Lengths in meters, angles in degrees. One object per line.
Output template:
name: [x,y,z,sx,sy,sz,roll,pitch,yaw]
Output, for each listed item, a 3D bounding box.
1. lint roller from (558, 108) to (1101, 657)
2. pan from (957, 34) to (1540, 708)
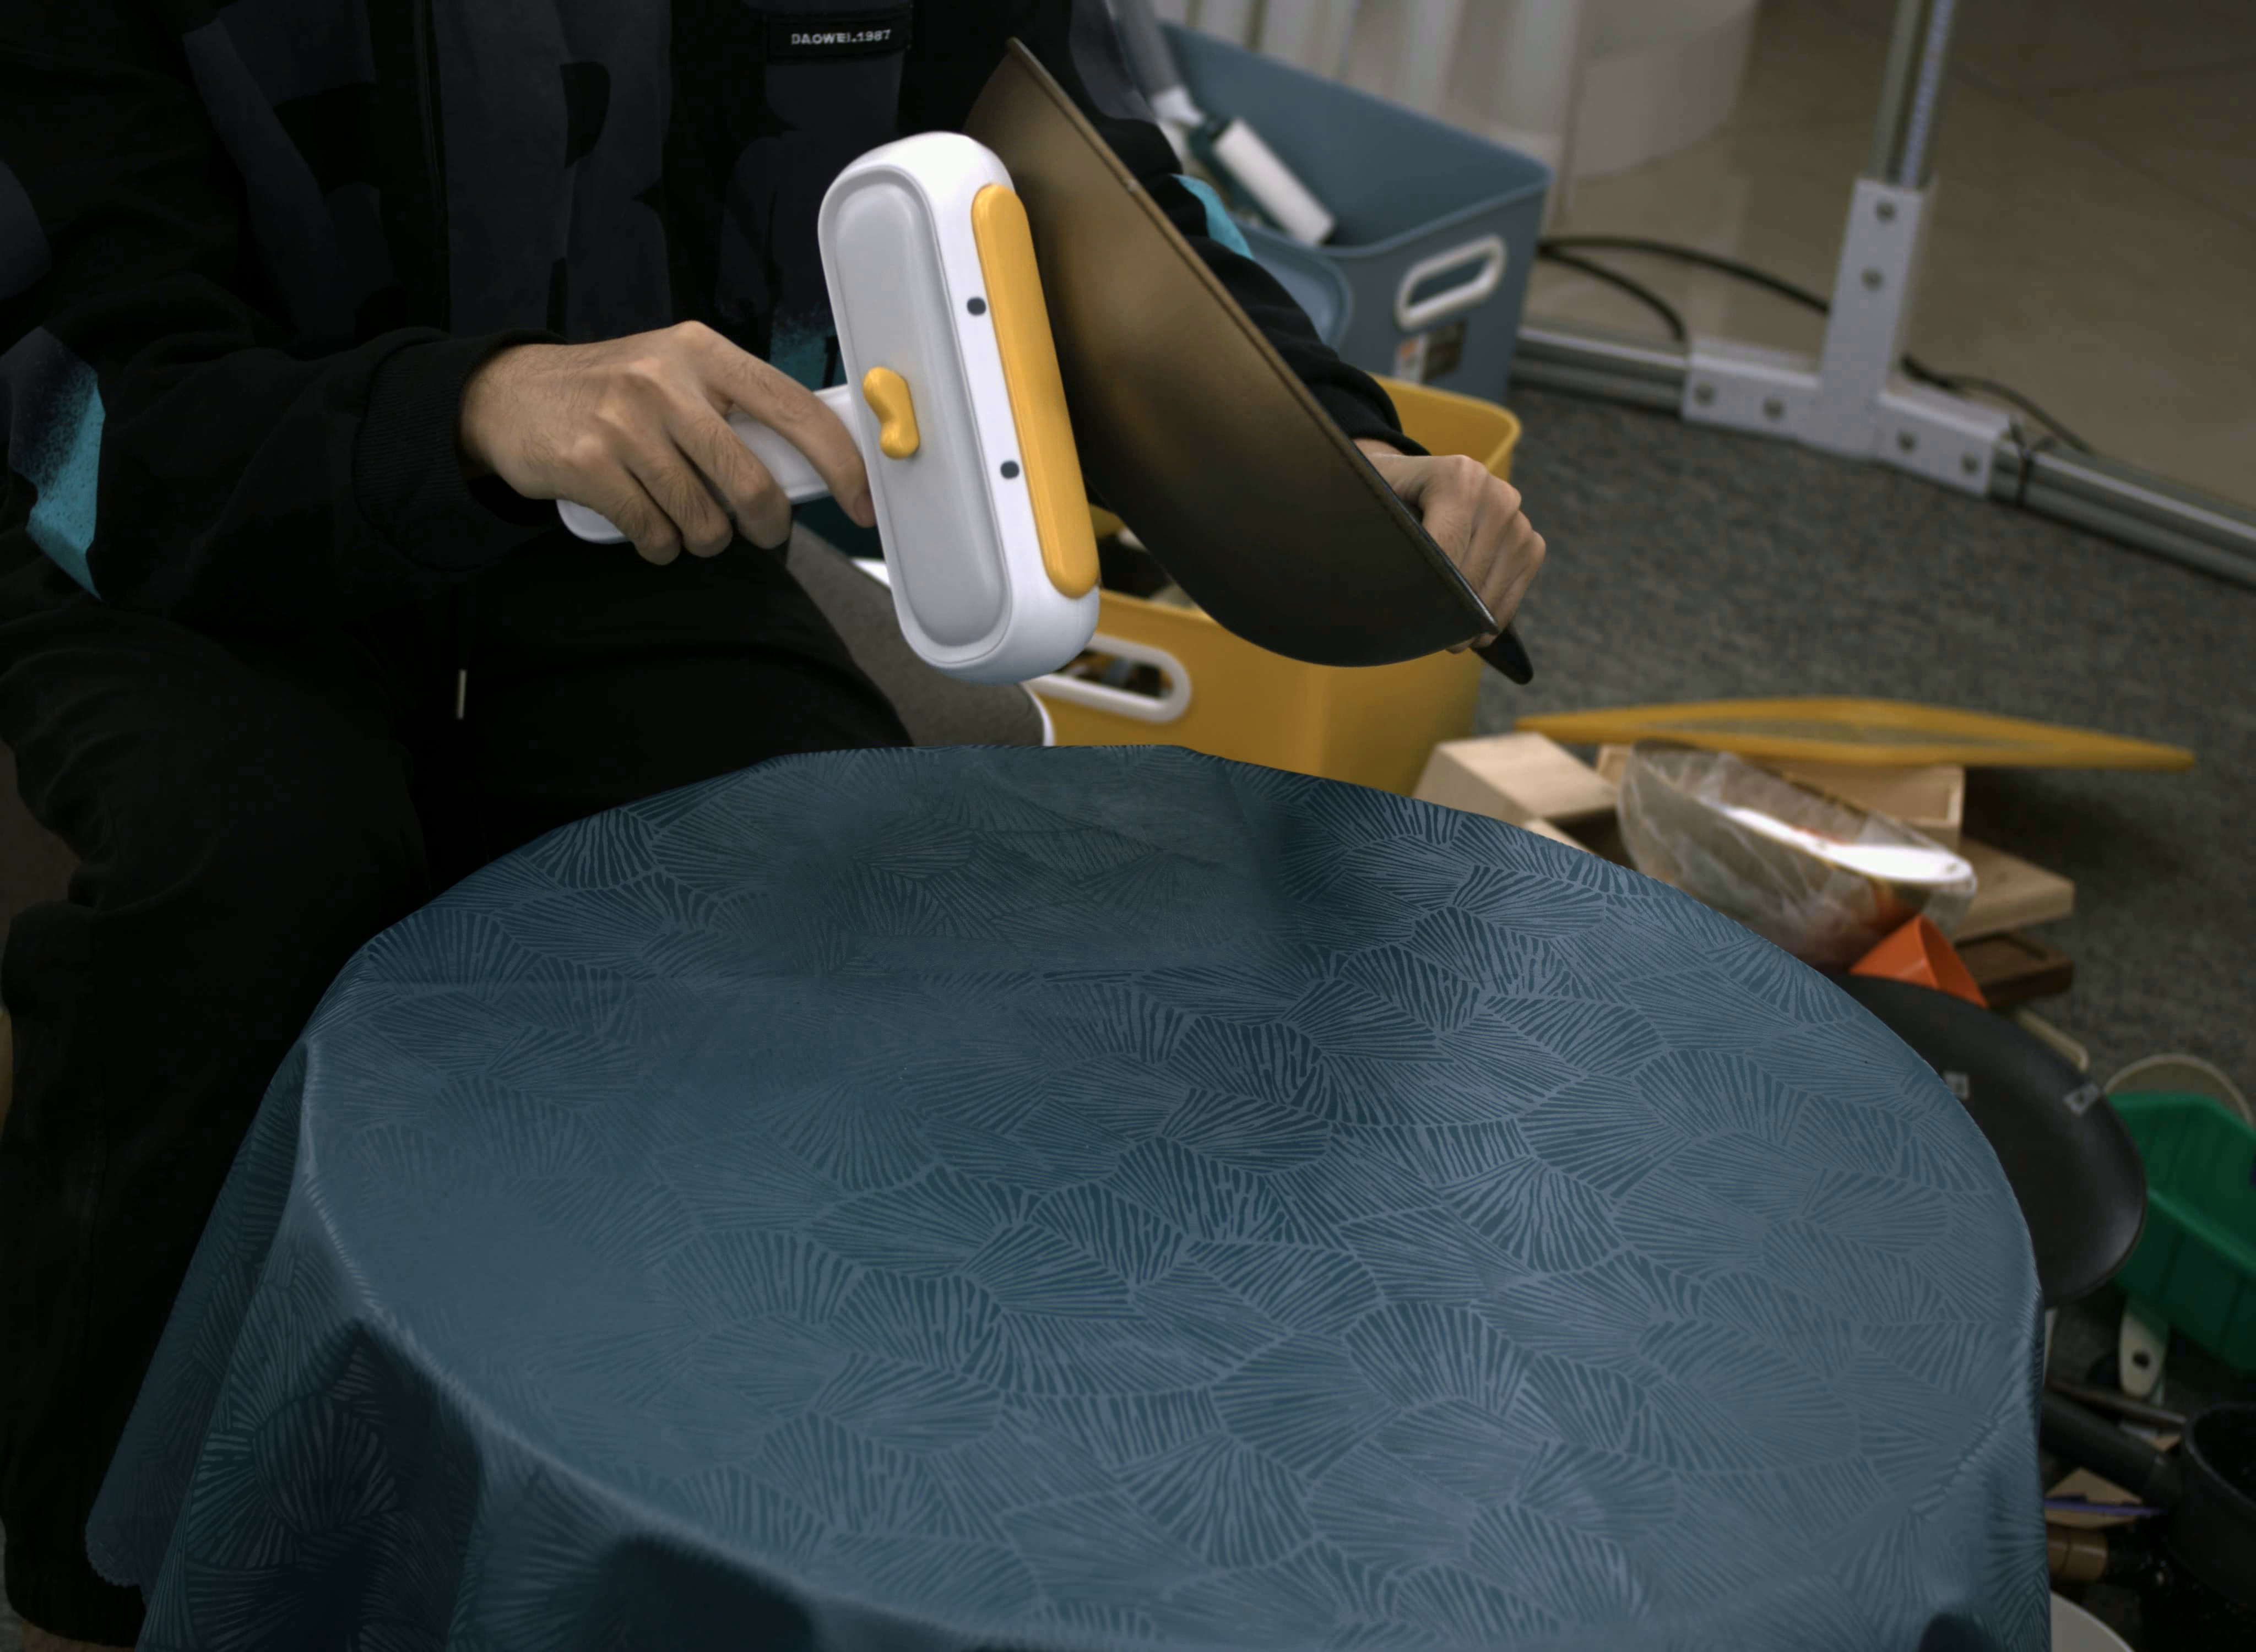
lint roller: [-0.112,-0.138,1.873,0.193,0.193,0.074,-17,1,32]
pan: [0.049,-0.124,2.029,0.290,0.087,0.459,53,5,31]
